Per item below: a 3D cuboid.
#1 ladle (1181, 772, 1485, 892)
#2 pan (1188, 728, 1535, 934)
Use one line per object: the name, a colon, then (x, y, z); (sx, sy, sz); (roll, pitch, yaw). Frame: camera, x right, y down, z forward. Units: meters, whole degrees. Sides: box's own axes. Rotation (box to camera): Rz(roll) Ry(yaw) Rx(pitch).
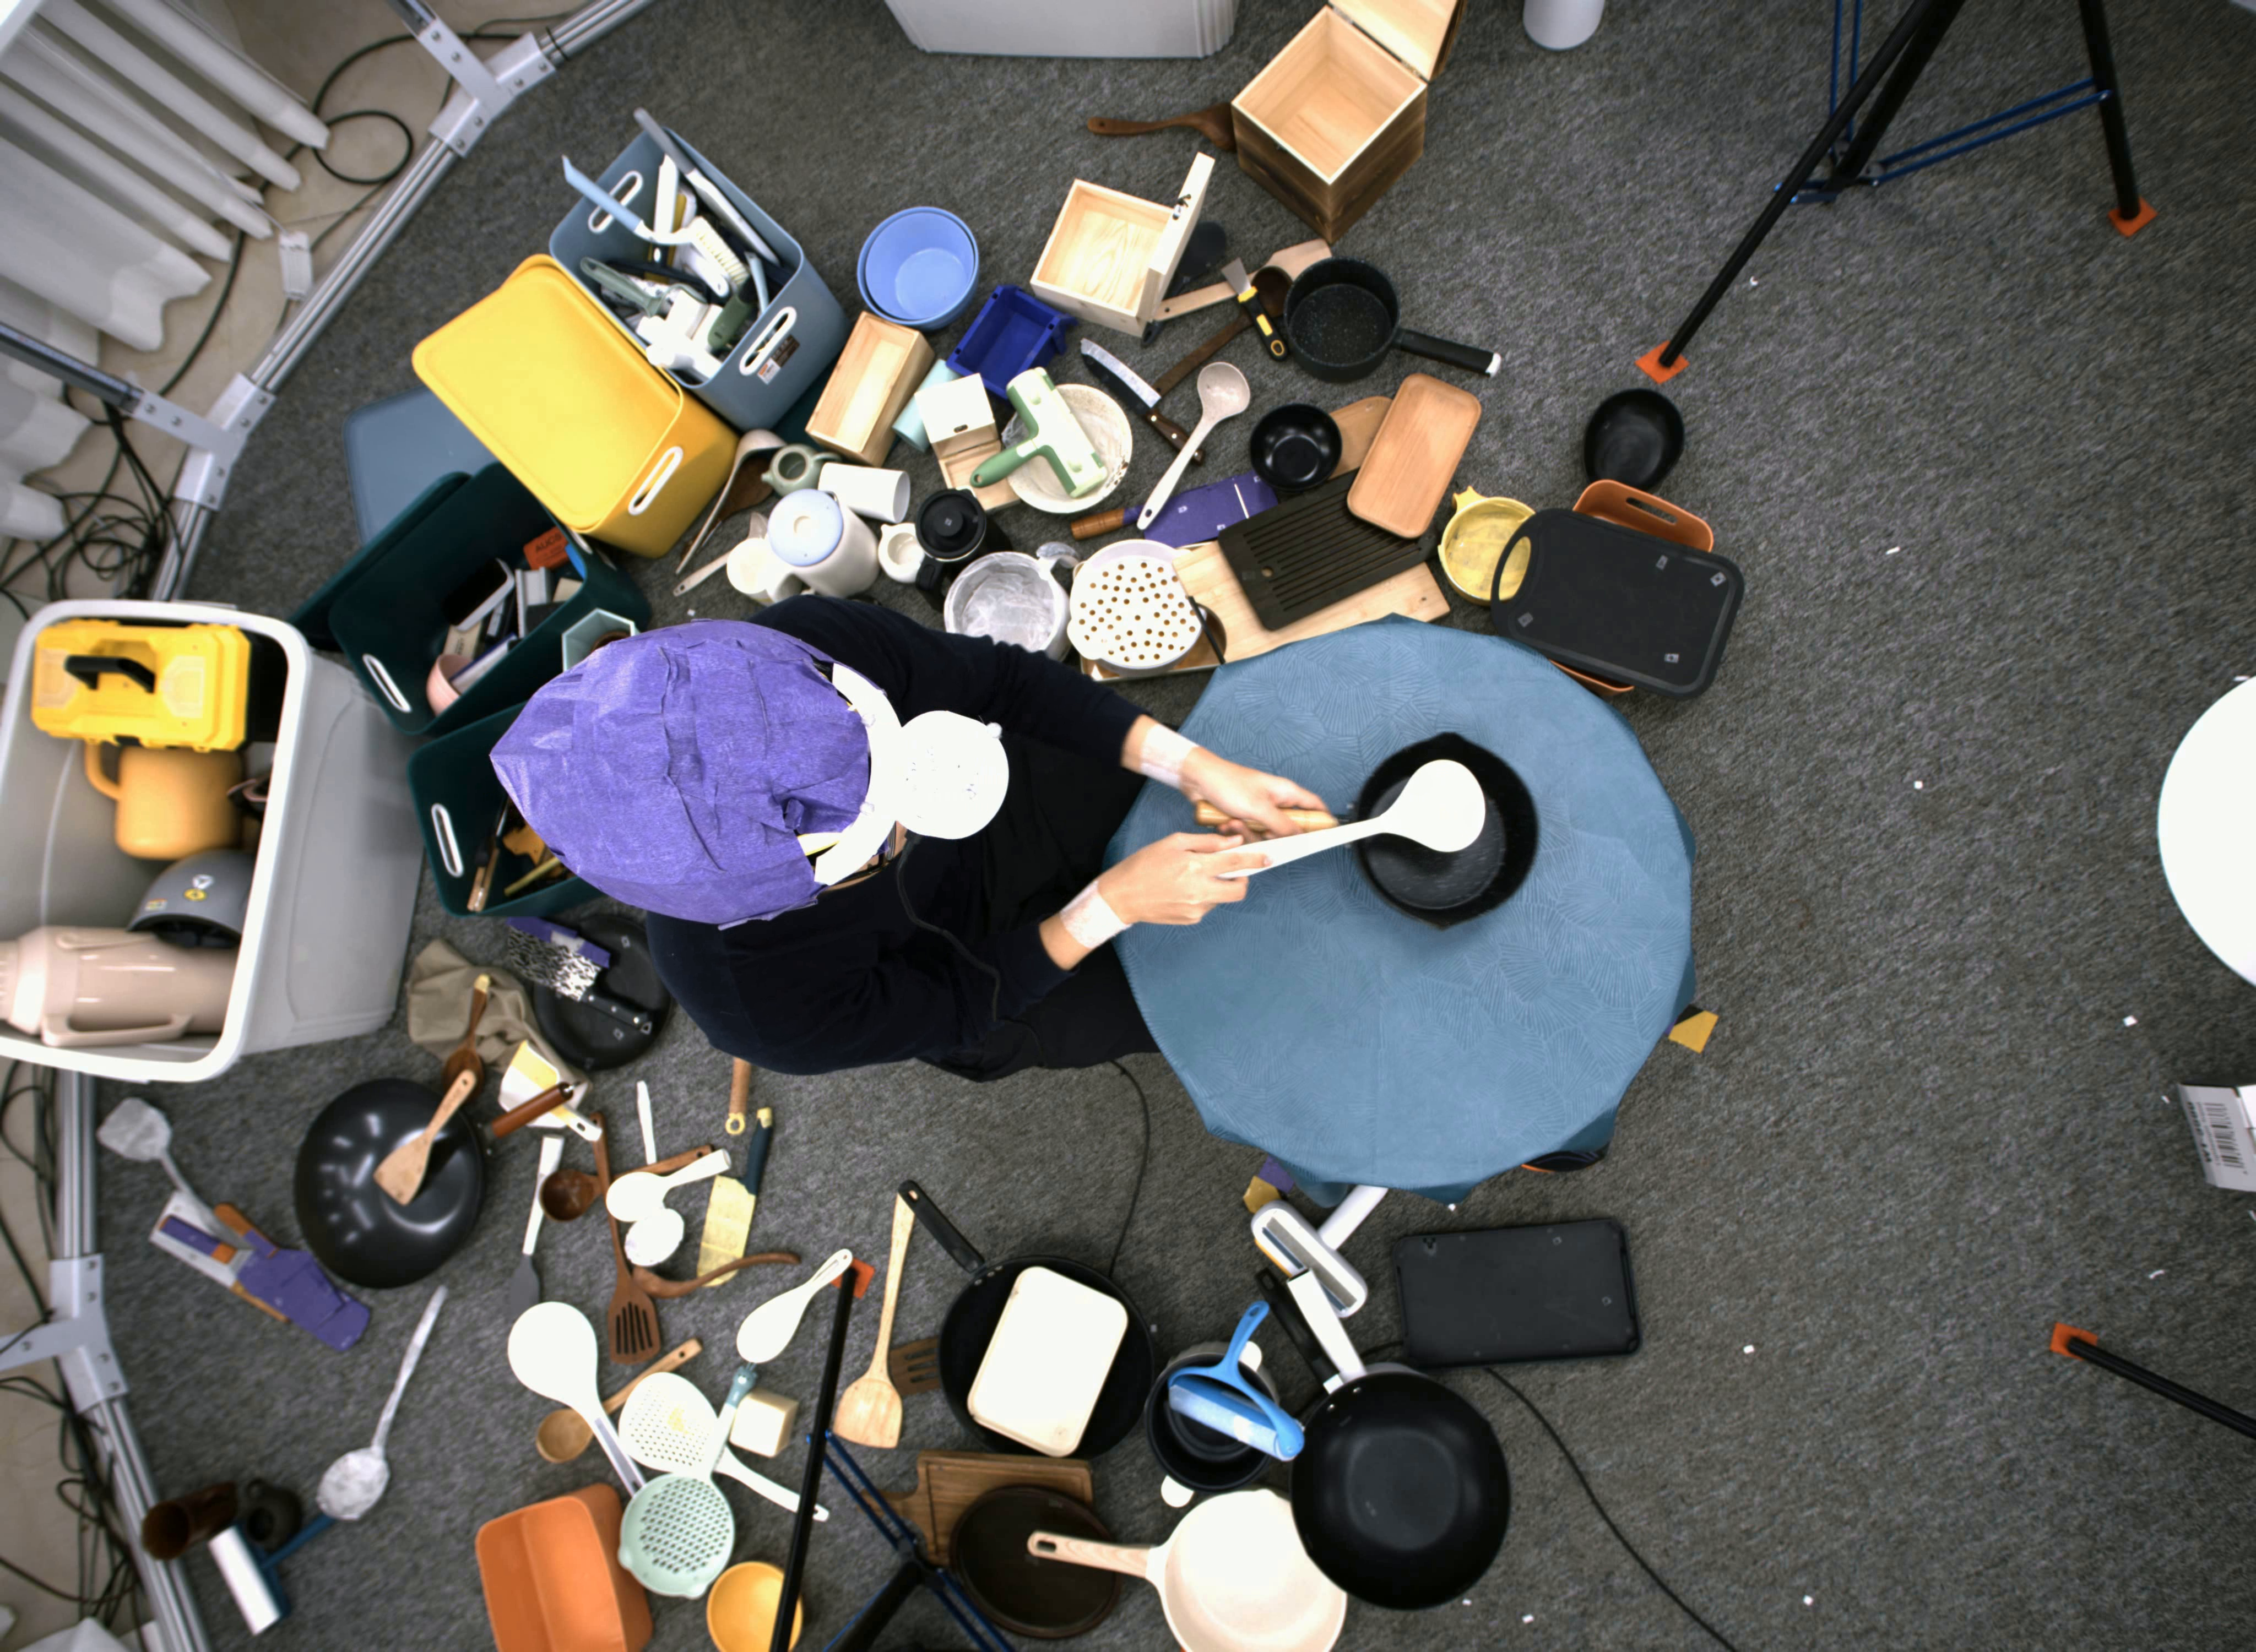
ladle: (0.198, 0.015, 1.338); (0.292, 0.070, 0.090); (-13, 92, -8)
pan: (0.232, 0.003, 1.397); (0.343, 0.108, 0.206); (2, 85, 5)
